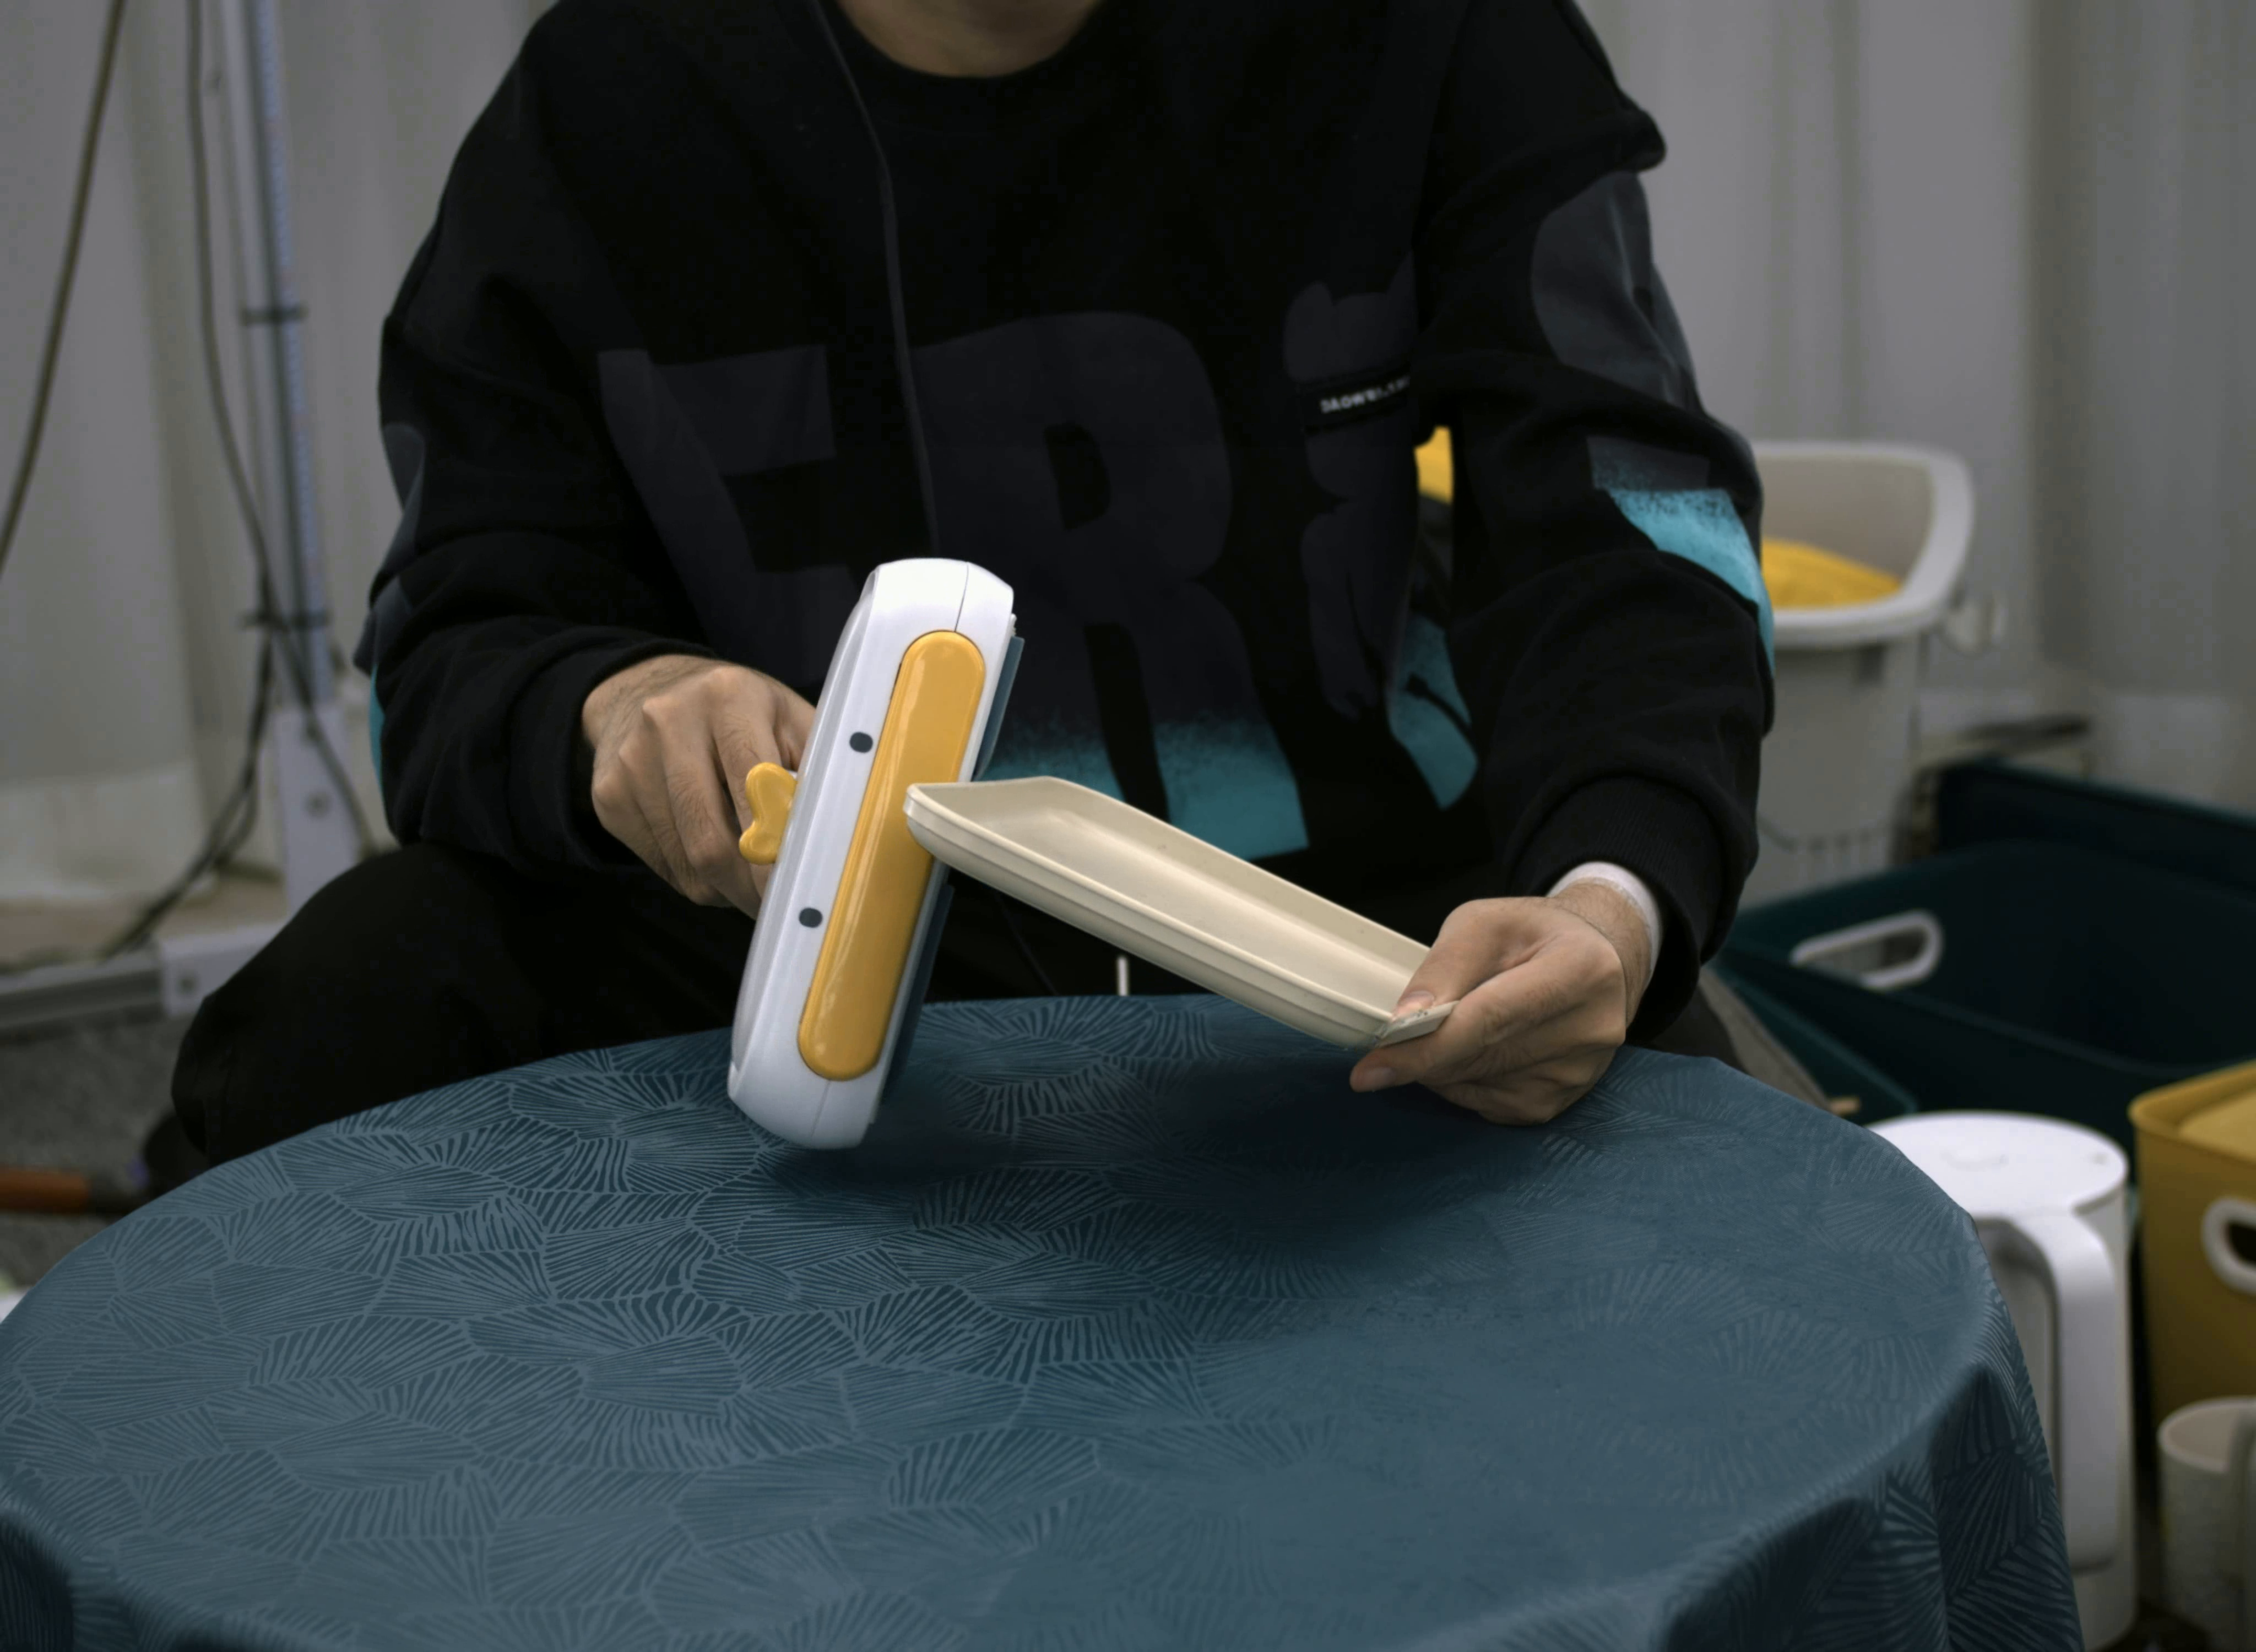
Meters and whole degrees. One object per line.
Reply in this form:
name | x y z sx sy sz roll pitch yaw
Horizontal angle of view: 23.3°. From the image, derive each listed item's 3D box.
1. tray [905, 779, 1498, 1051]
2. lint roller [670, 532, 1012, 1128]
tray | 0.025 0.028 1.720 0.171 0.017 0.239 25 6 11
lint roller | -0.103 0.000 1.801 0.073 0.194 0.192 11 -4 -16
